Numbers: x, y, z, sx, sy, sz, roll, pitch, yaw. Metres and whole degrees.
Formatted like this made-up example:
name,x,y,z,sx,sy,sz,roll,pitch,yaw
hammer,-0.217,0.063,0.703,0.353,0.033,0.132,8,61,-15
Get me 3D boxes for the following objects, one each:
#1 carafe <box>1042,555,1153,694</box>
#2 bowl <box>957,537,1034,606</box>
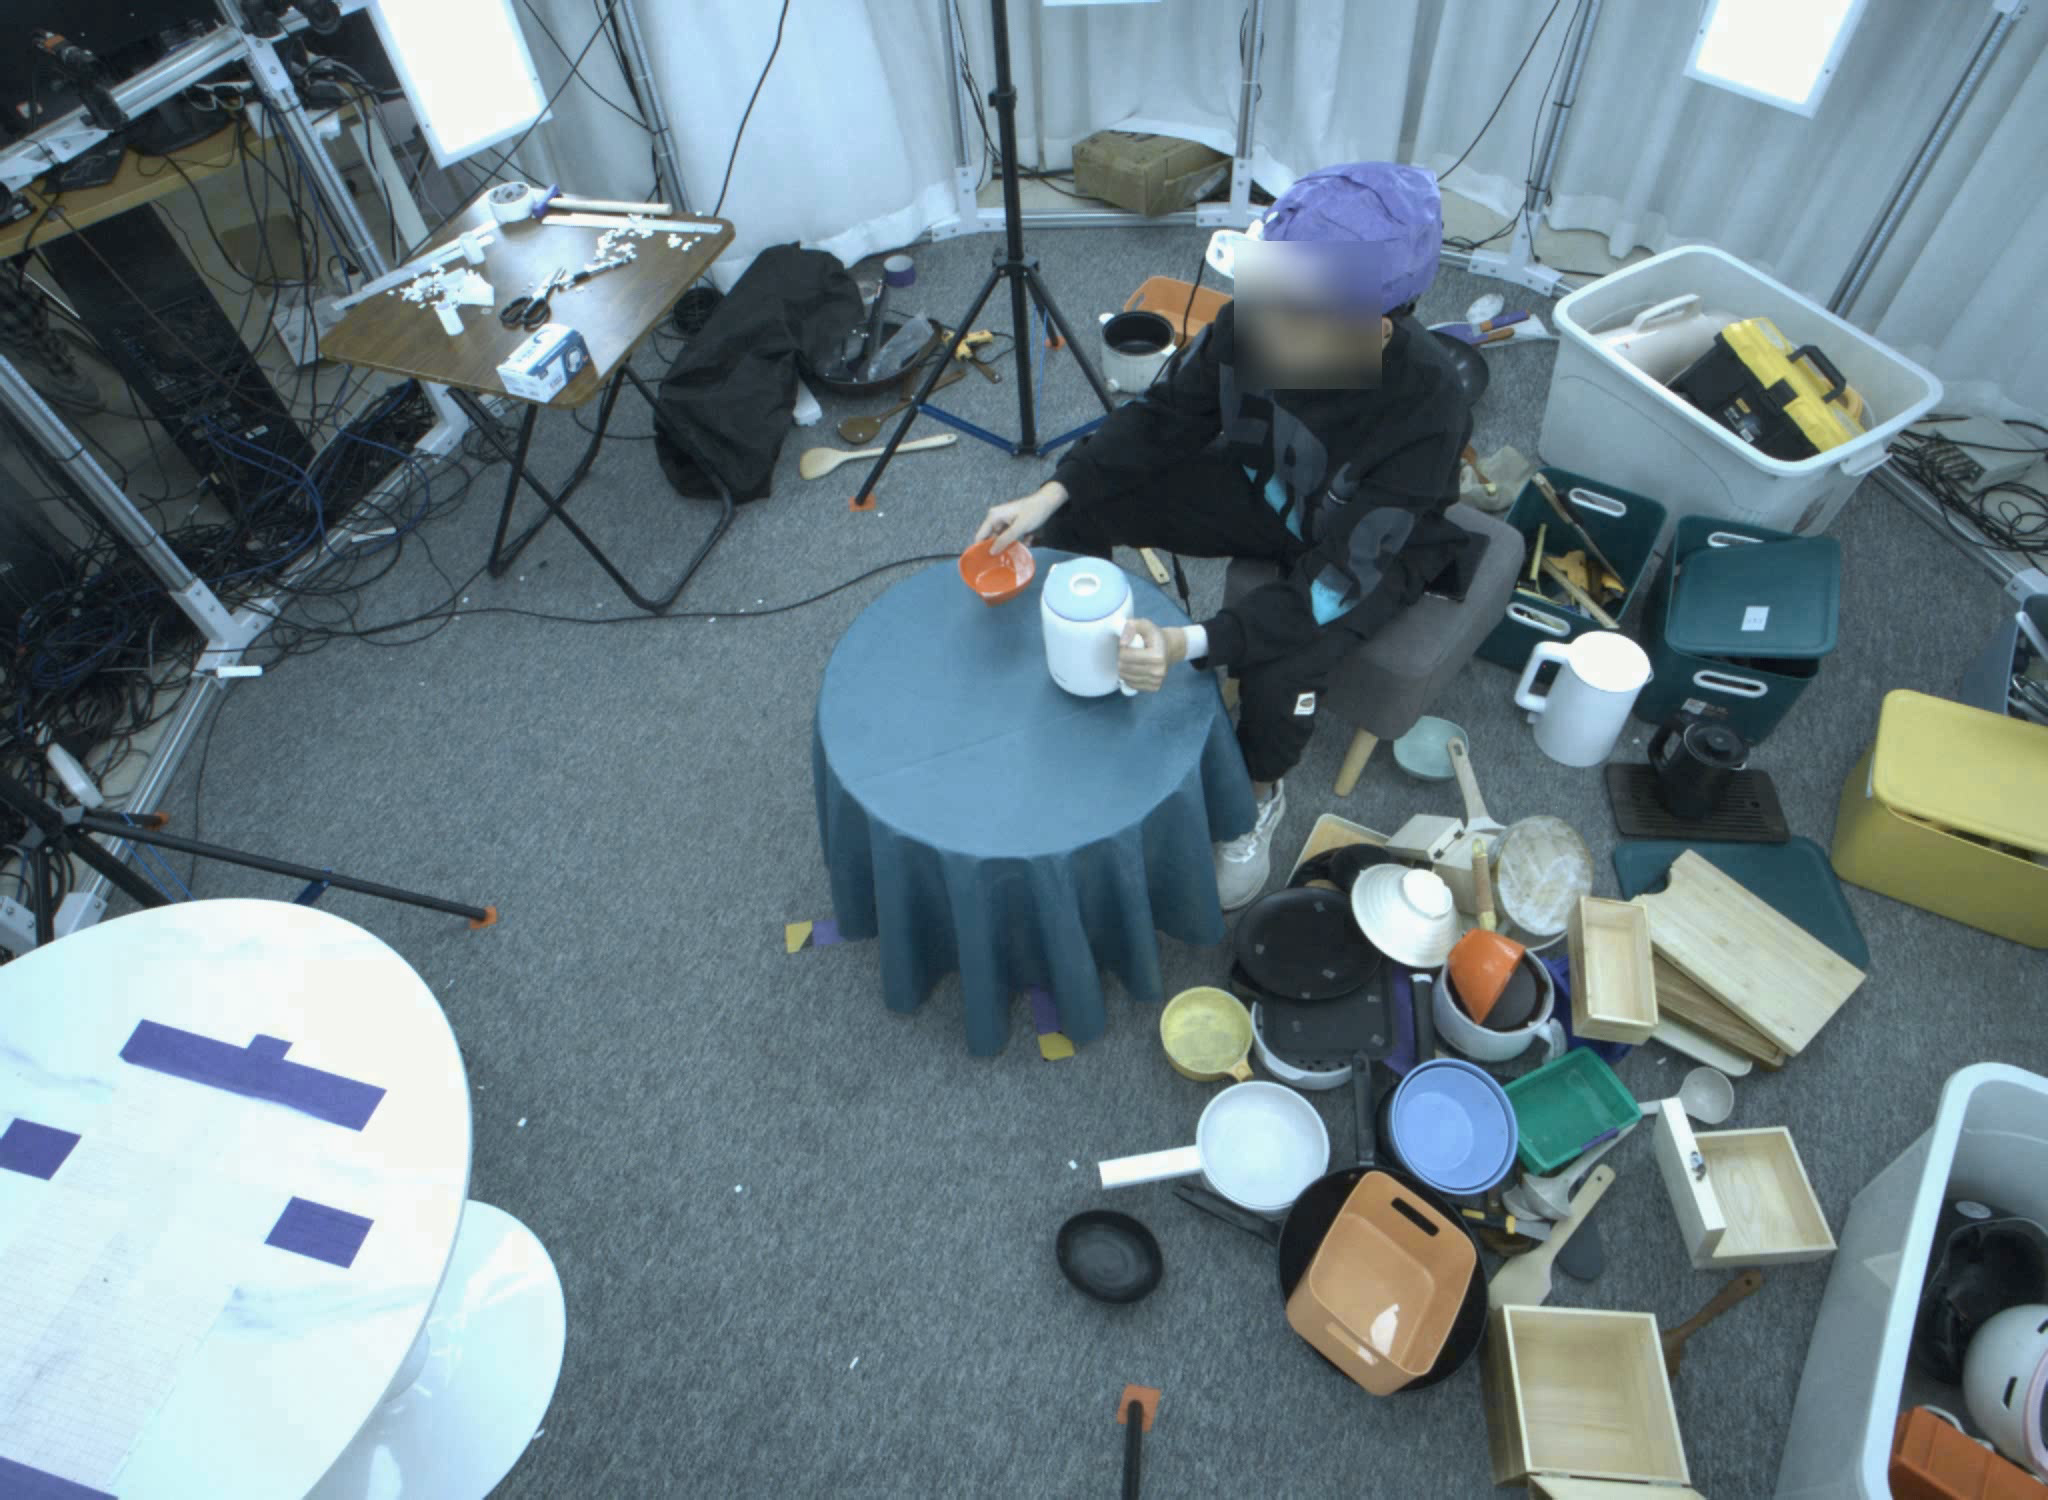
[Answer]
name,x,y,z,sx,sy,sz,roll,pitch,yaw
carafe,0.111,-0.165,1.760,0.133,0.184,0.188,-41,64,-19
bowl,-0.041,-0.264,1.868,0.118,0.052,0.118,-2,57,5
